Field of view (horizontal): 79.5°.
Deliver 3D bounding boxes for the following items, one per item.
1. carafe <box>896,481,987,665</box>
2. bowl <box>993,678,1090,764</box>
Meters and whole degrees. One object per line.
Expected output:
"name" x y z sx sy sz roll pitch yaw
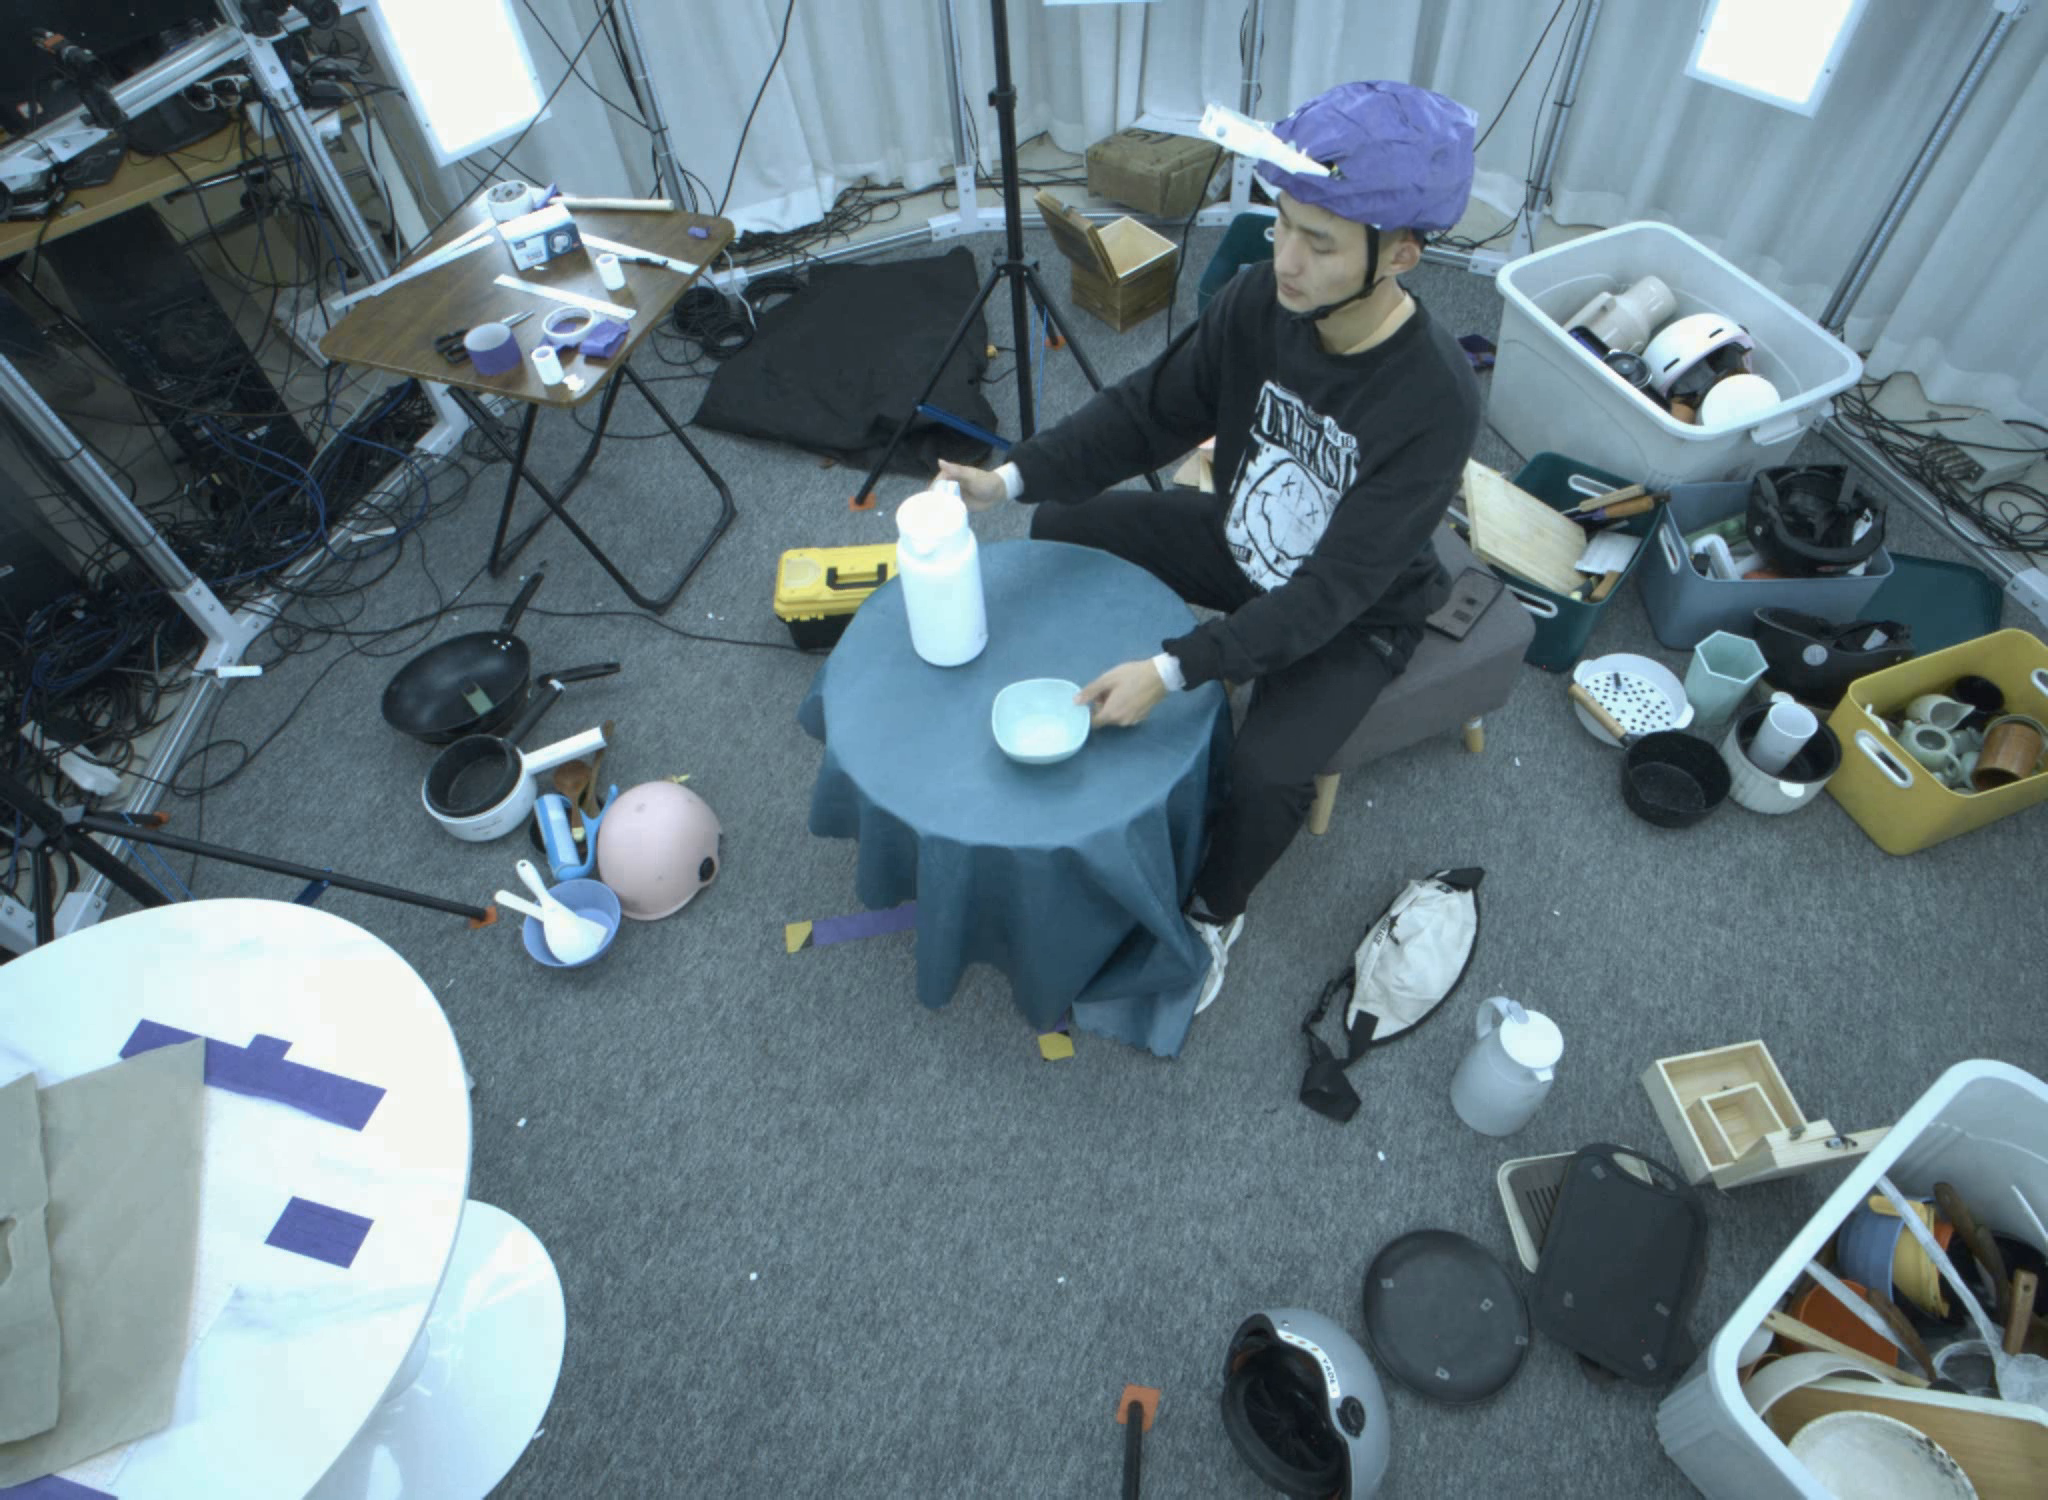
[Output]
"carafe" -0.121 -0.264 1.811 0.123 0.272 0.171 4 55 9
"bowl" 0.027 -0.031 1.771 0.151 0.059 0.150 -1 55 2
